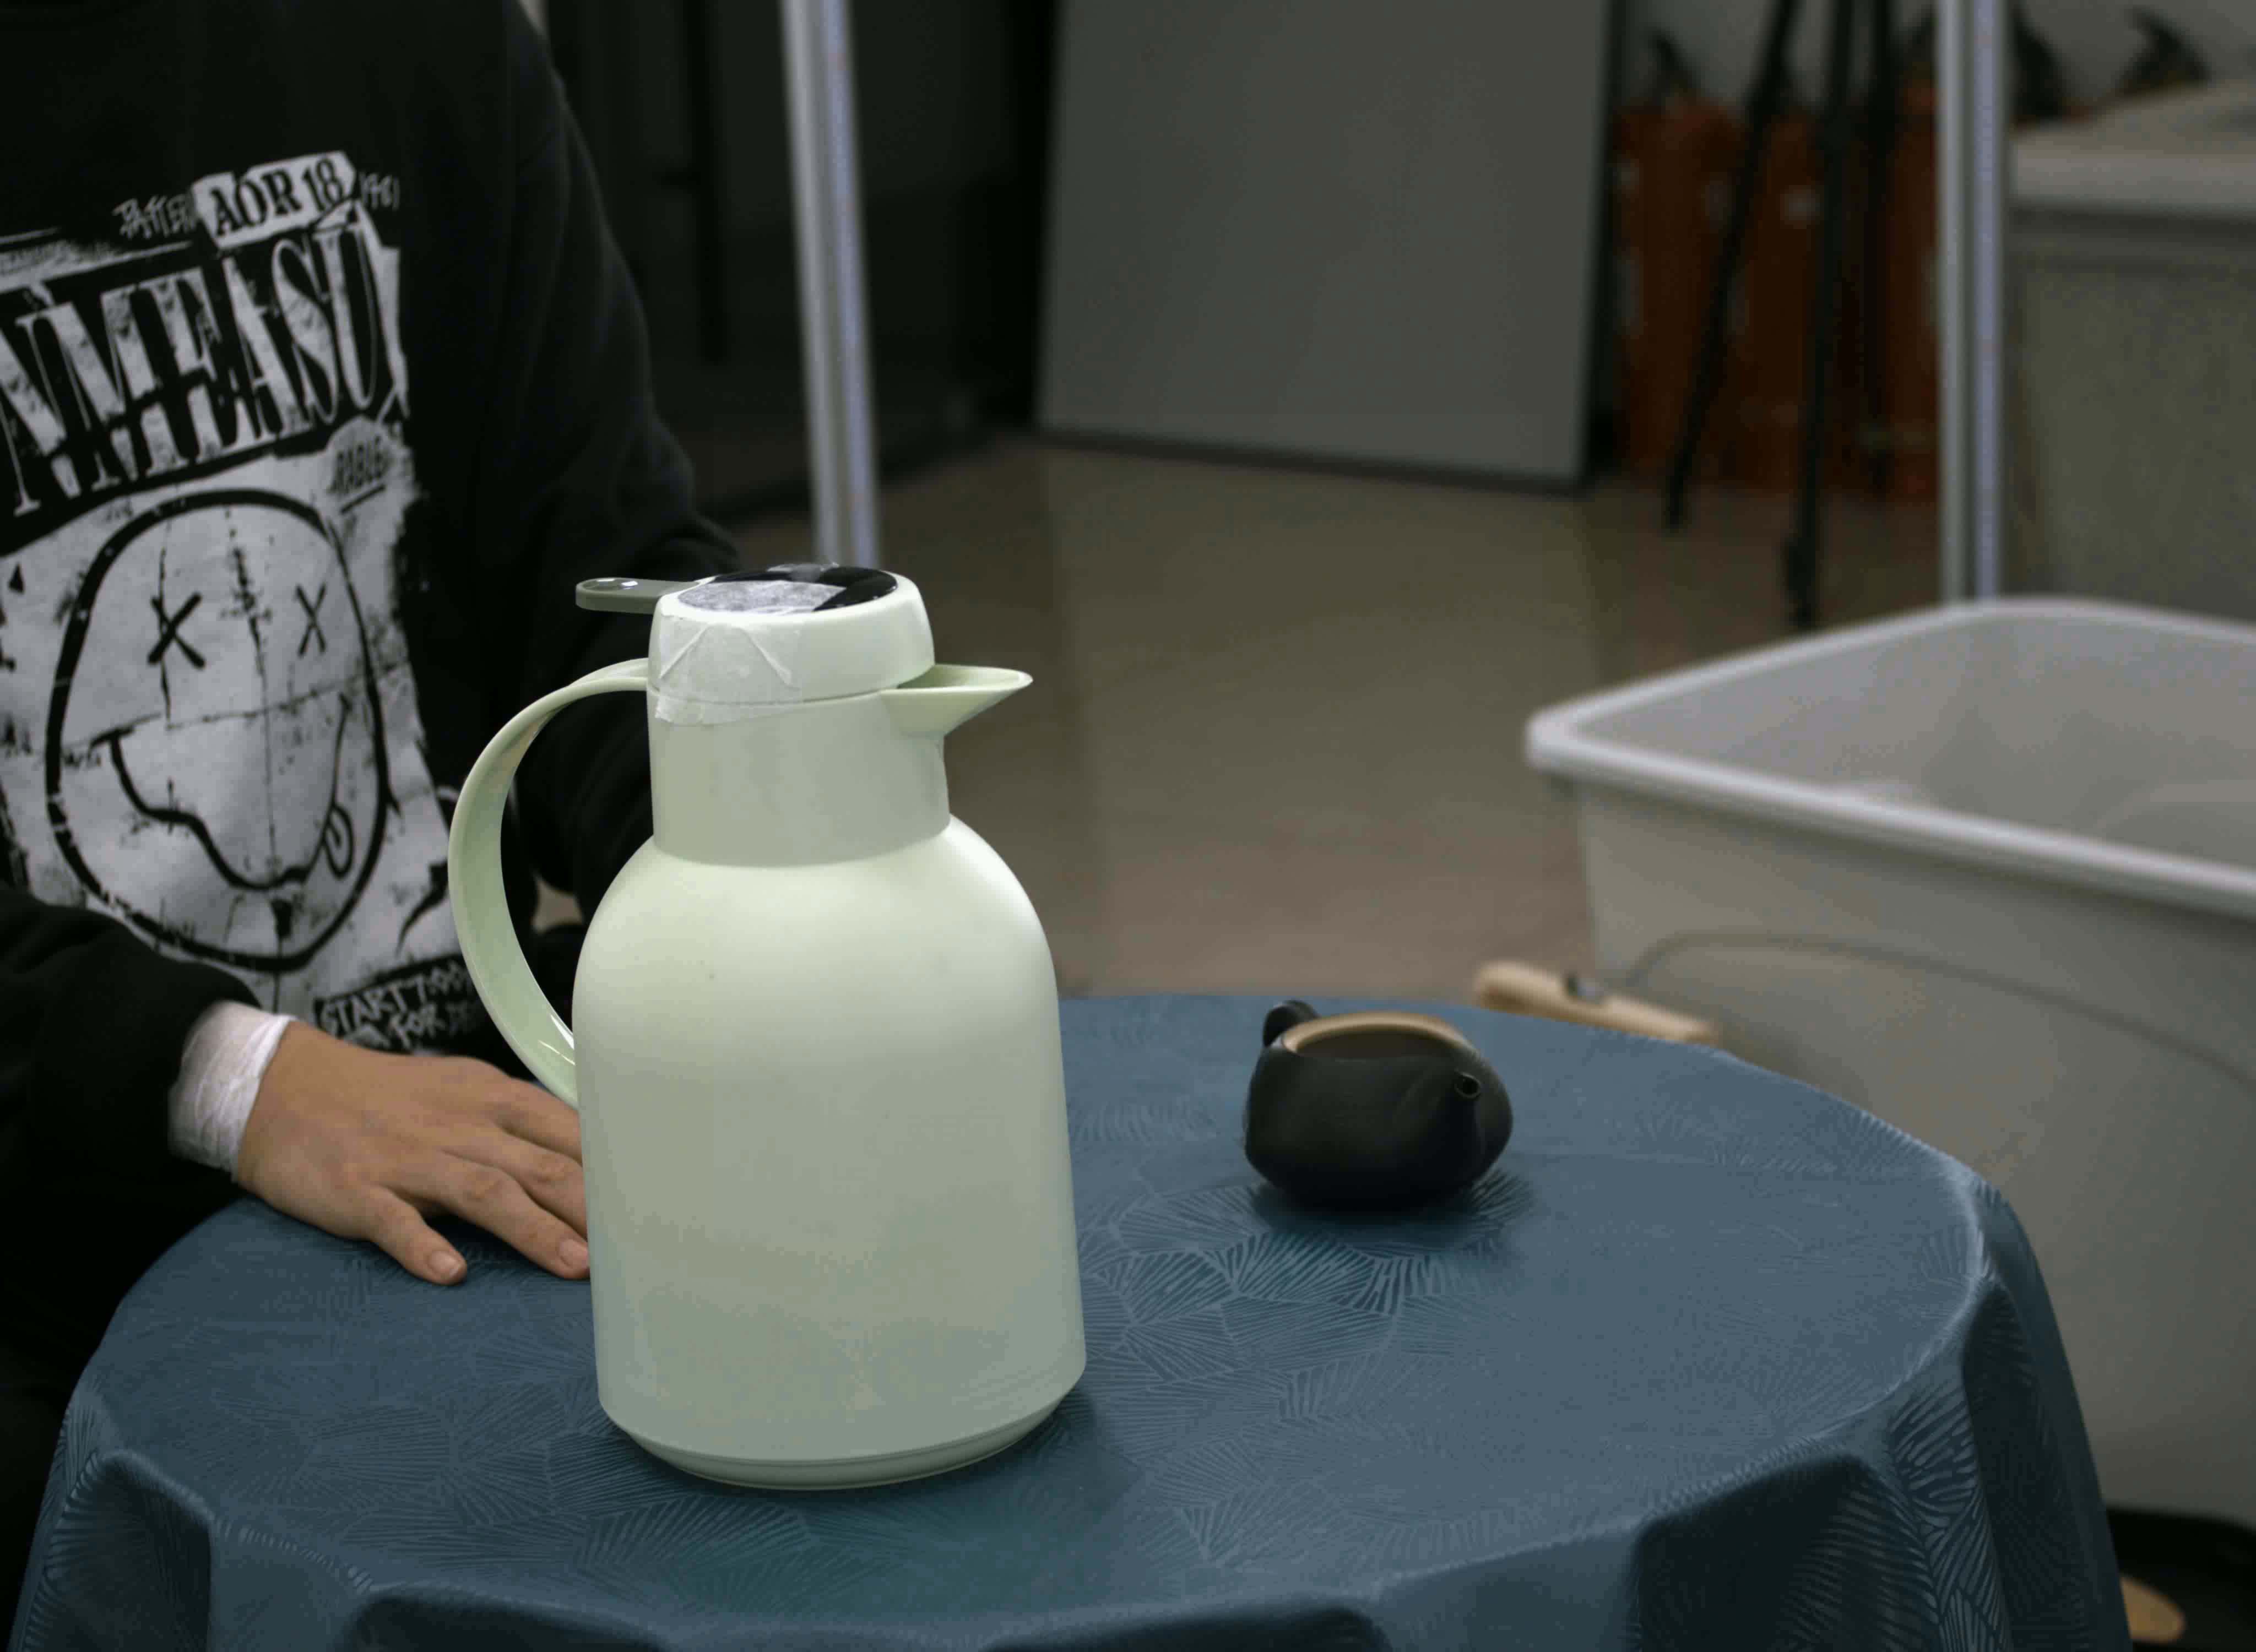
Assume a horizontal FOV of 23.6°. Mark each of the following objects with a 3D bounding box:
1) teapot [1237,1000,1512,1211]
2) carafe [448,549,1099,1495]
[{"bbox_3d":[0.080,0.092,1.753,0.089,0.053,0.134,-9,14,-25],"label":"teapot"},{"bbox_3d":[-0.103,0.052,1.563,0.187,0.259,0.143,-2,15,23],"label":"carafe"}]
